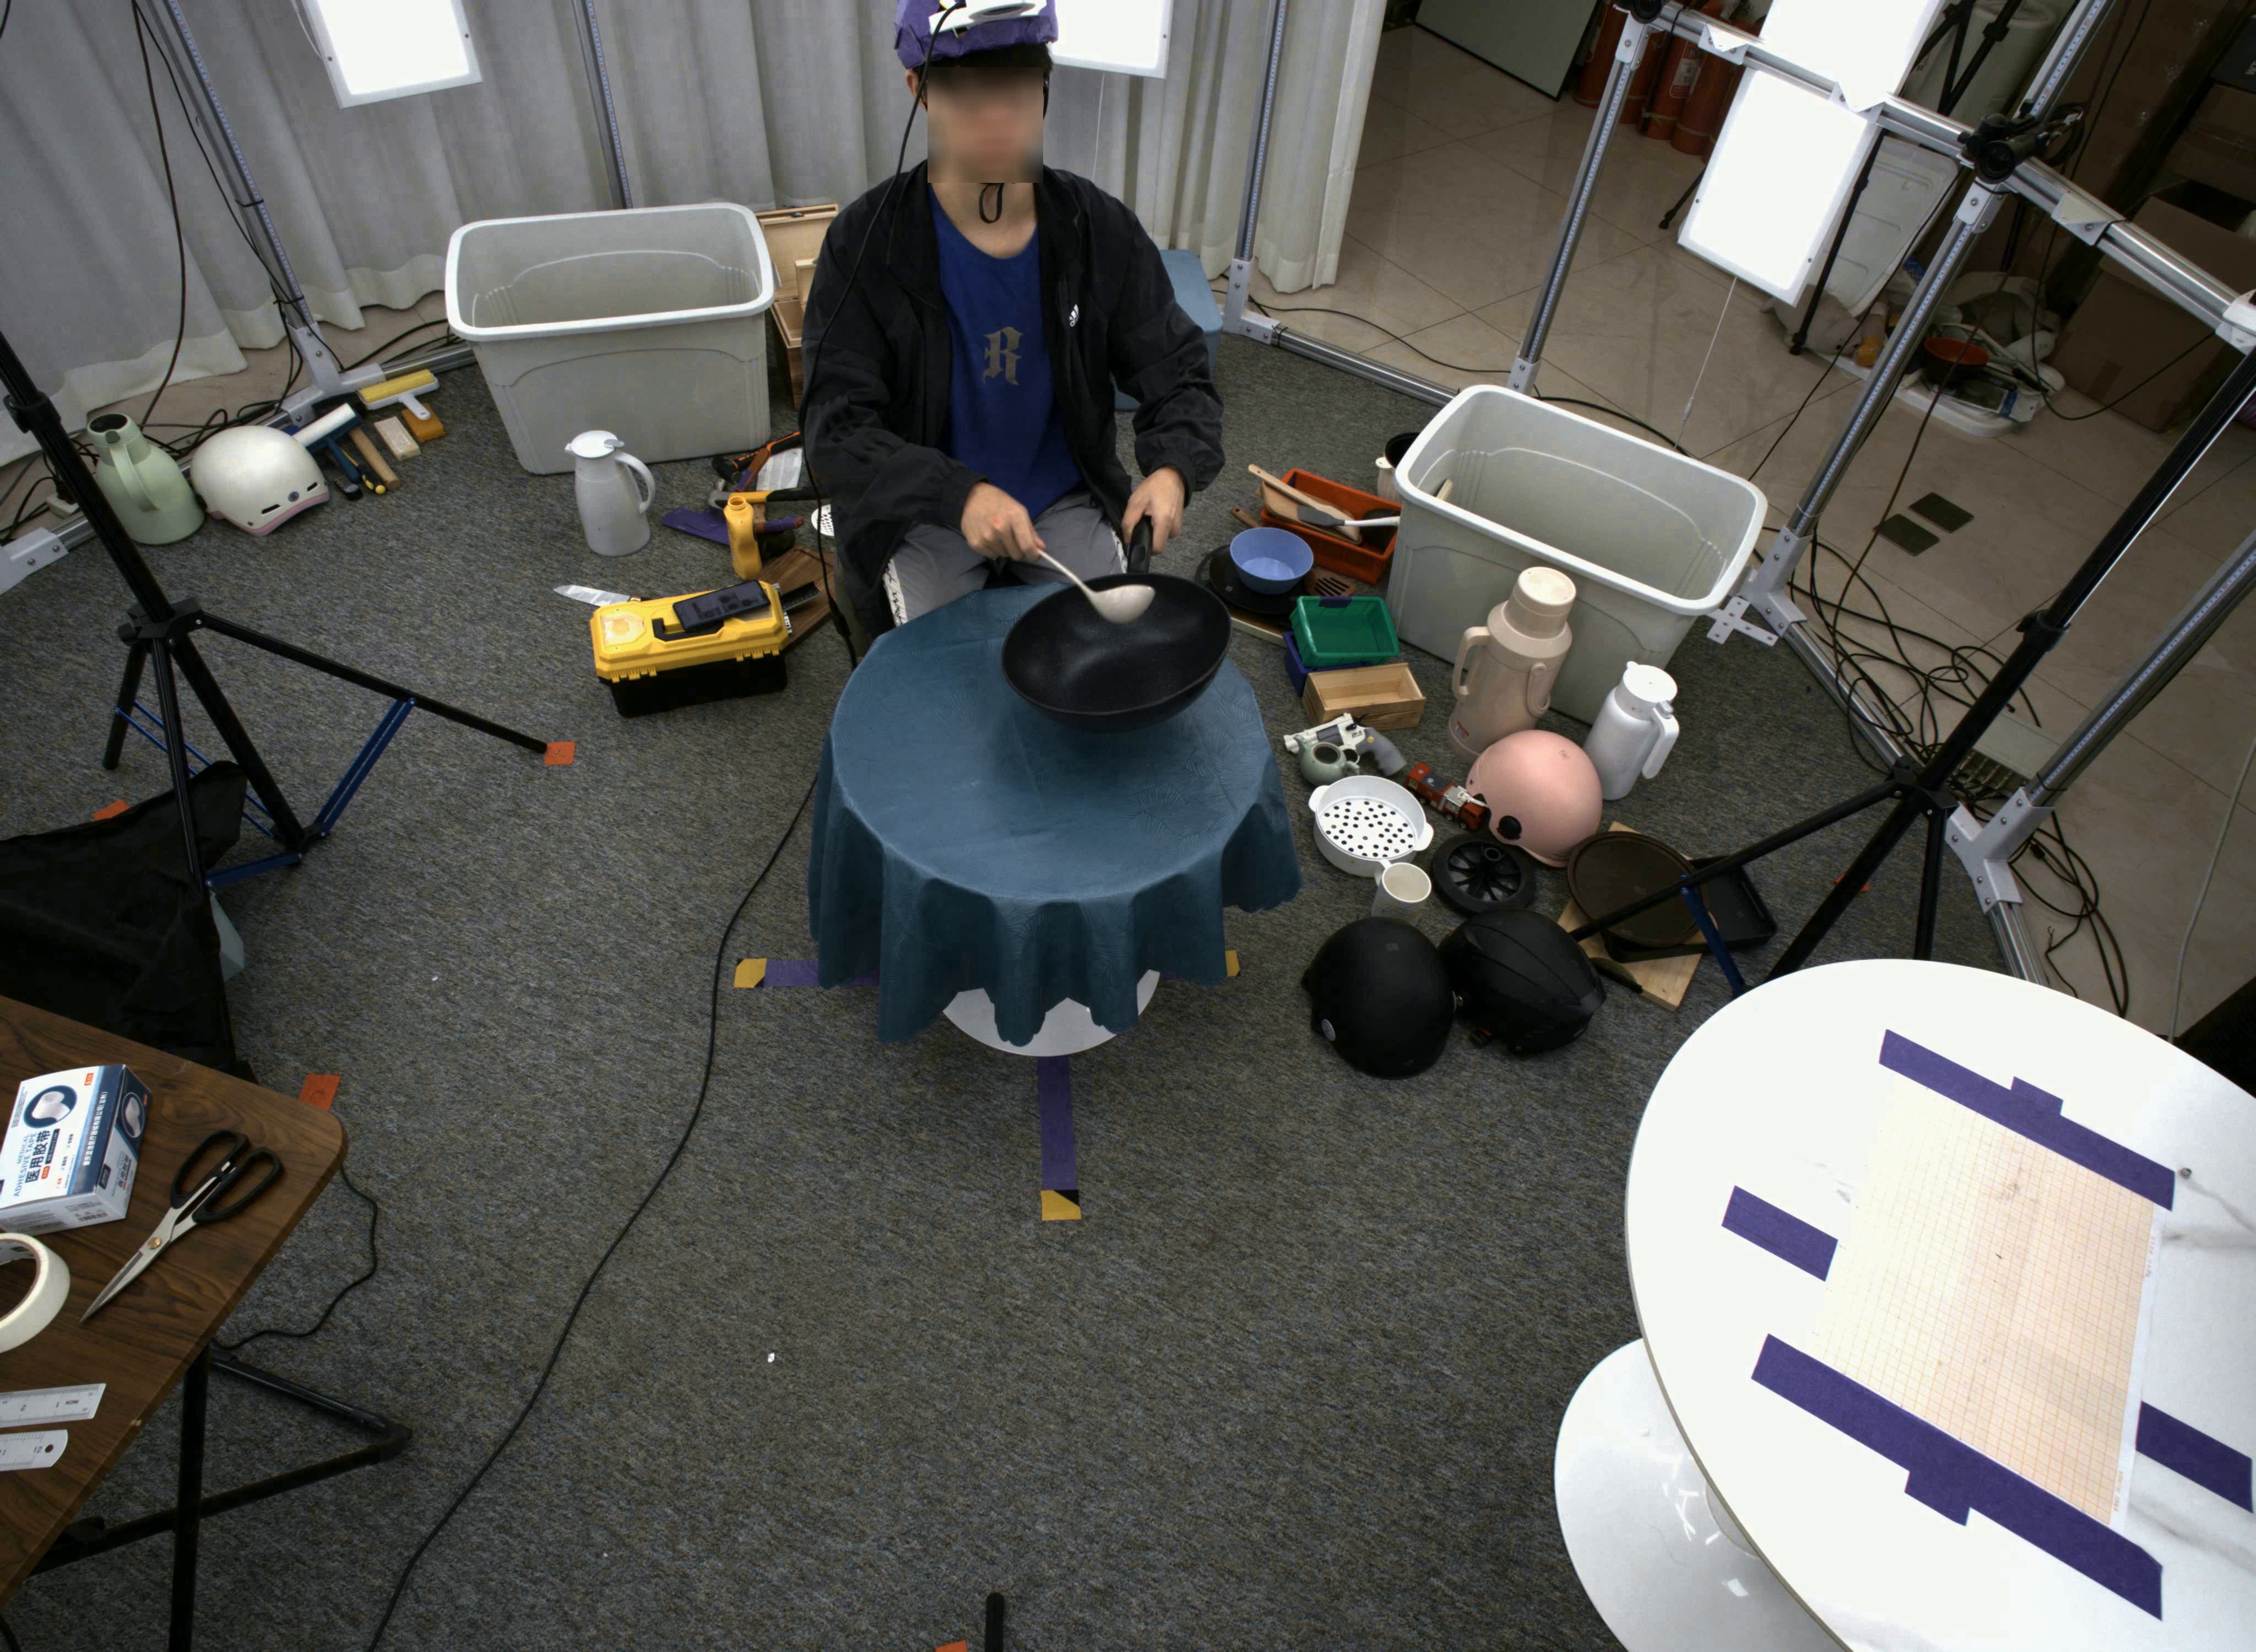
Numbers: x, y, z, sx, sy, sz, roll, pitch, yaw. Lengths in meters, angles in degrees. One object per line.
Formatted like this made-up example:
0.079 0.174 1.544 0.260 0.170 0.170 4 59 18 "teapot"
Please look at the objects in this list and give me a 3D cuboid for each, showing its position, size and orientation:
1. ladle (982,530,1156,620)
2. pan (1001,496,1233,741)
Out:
-0.083 -0.369 1.774 0.278 0.088 0.069 36 90 24 "ladle"
0.002 -0.279 1.772 0.311 0.109 0.488 1 45 12 "pan"
